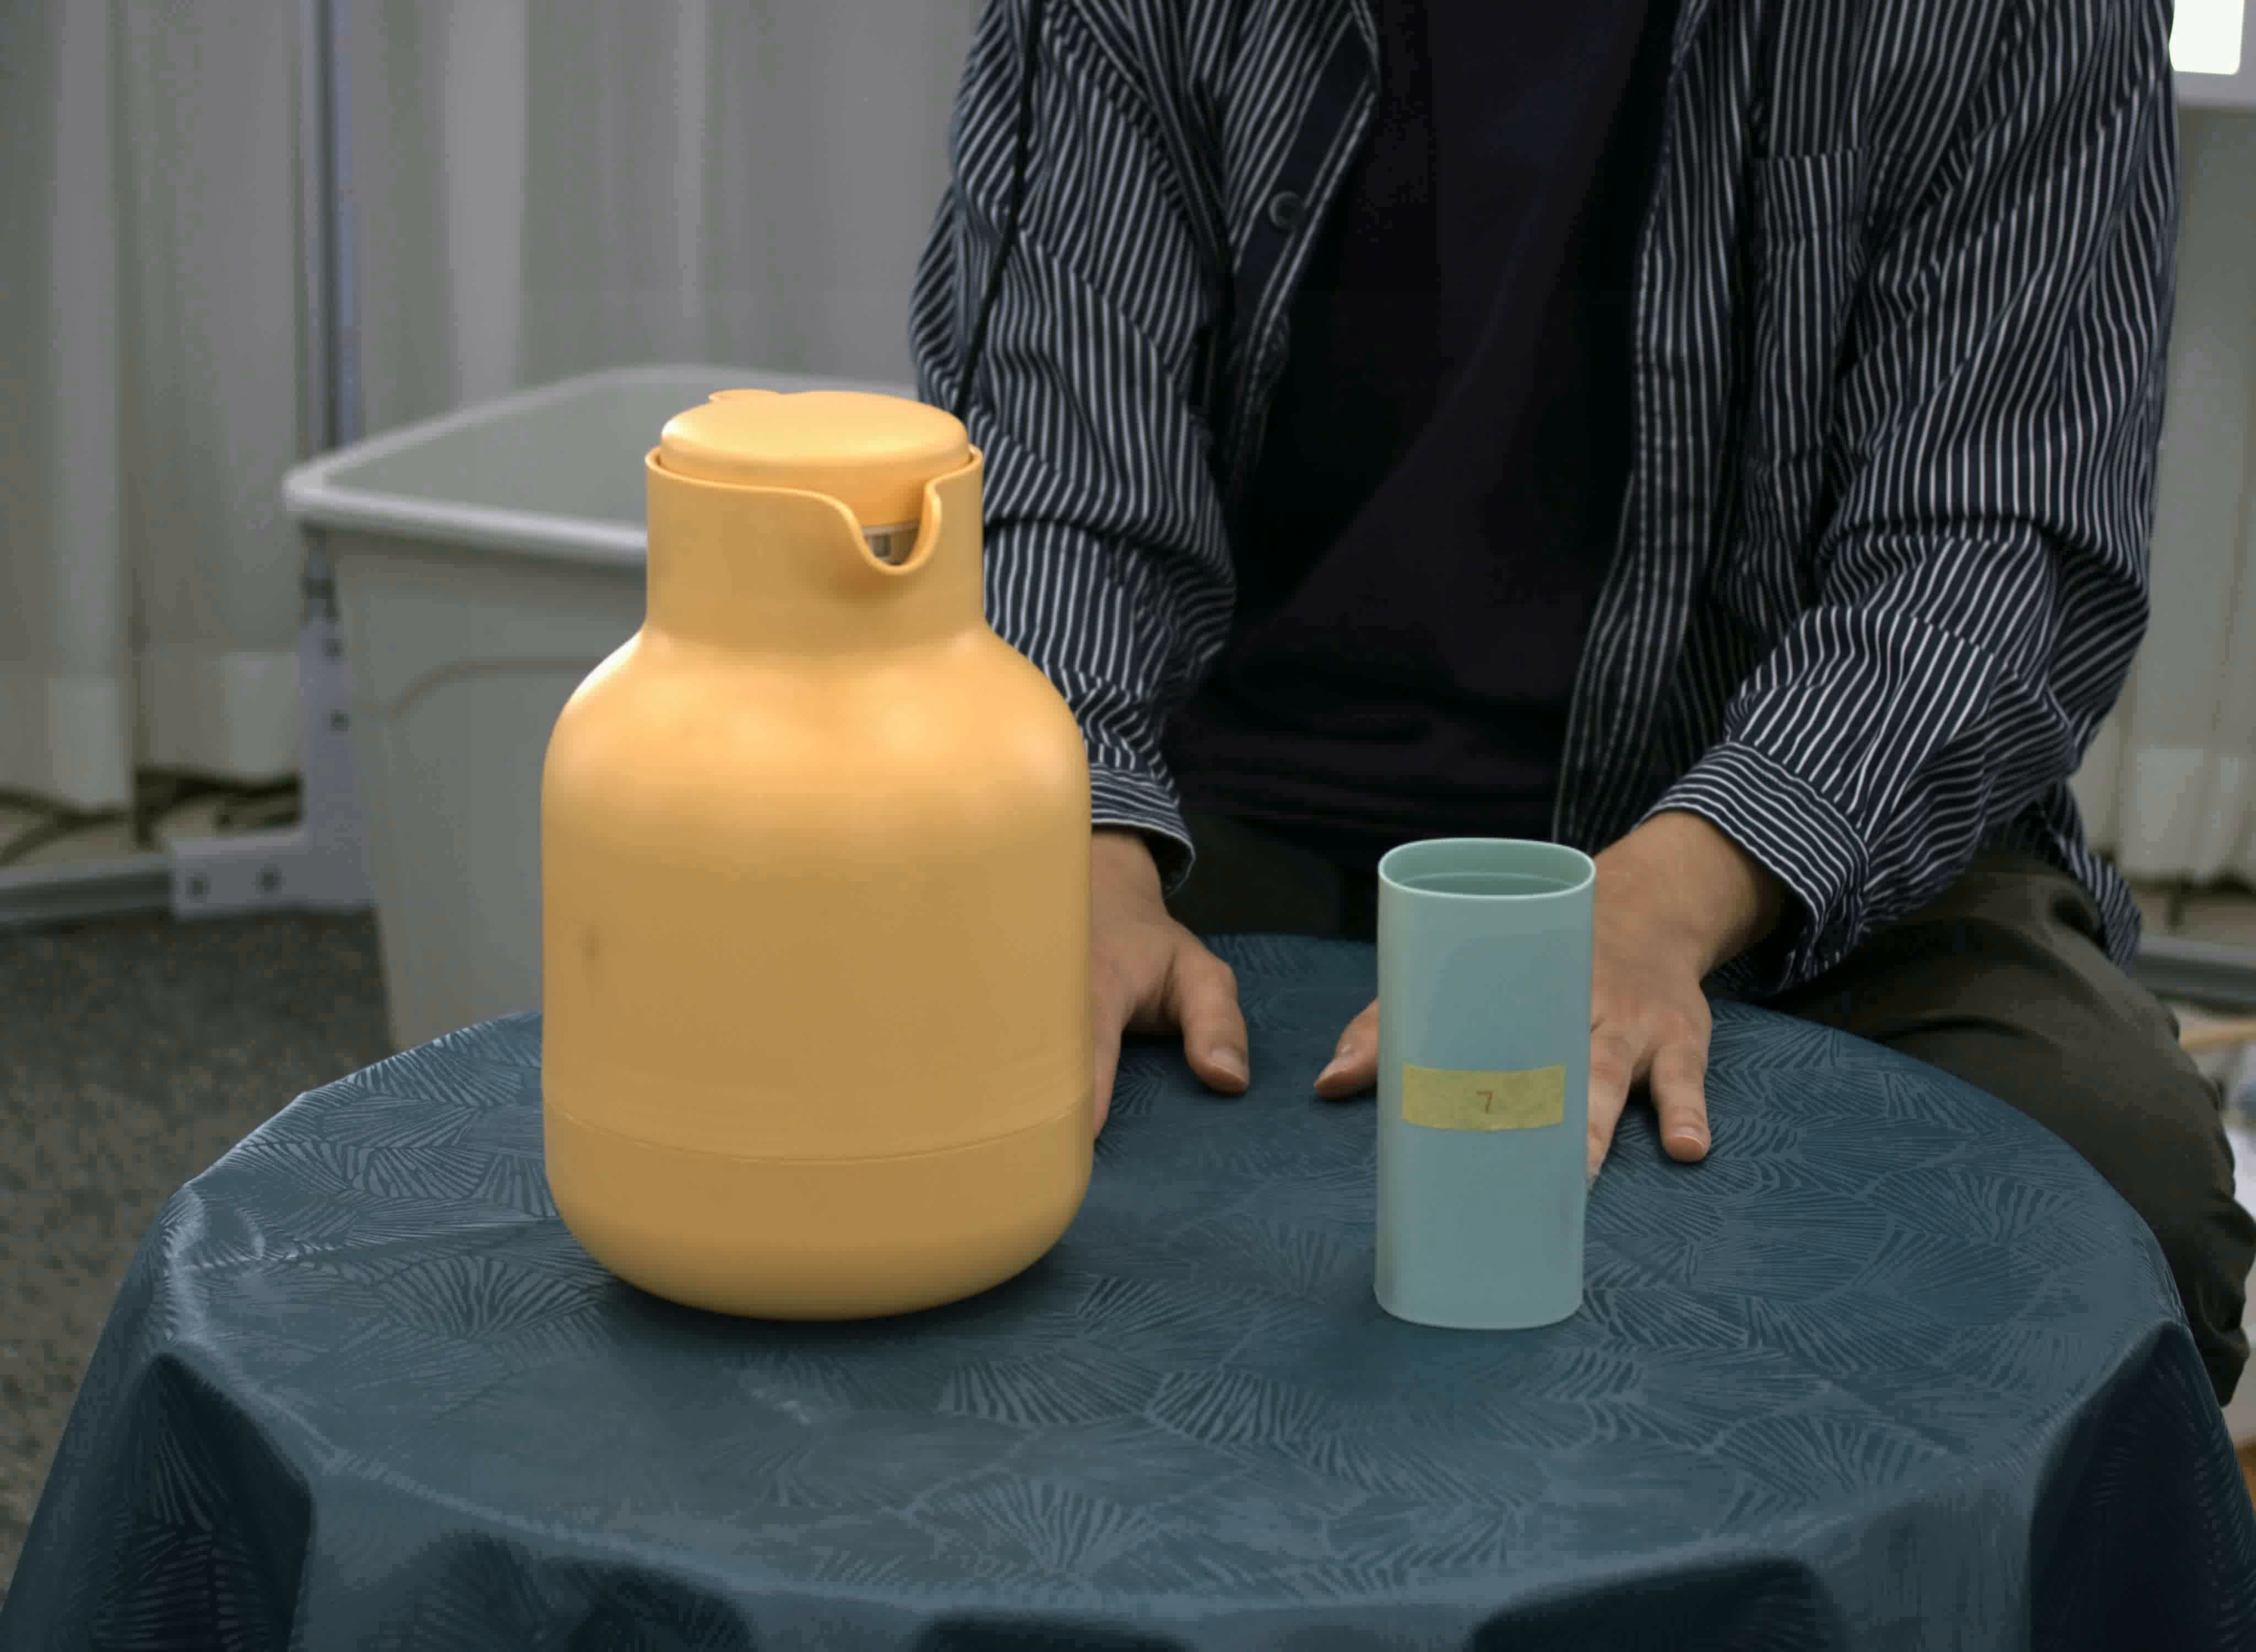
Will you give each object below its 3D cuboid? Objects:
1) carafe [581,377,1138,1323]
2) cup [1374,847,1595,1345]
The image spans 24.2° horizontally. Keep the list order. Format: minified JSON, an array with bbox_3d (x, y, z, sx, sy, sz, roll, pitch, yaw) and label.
[{"bbox_3d":[-0.085,-0.002,1.543,0.164,0.262,0.200,-6,18,-24],"label":"carafe"},{"bbox_3d":[0.102,0.077,1.526,0.066,0.133,0.066,0,16,0],"label":"cup"}]
